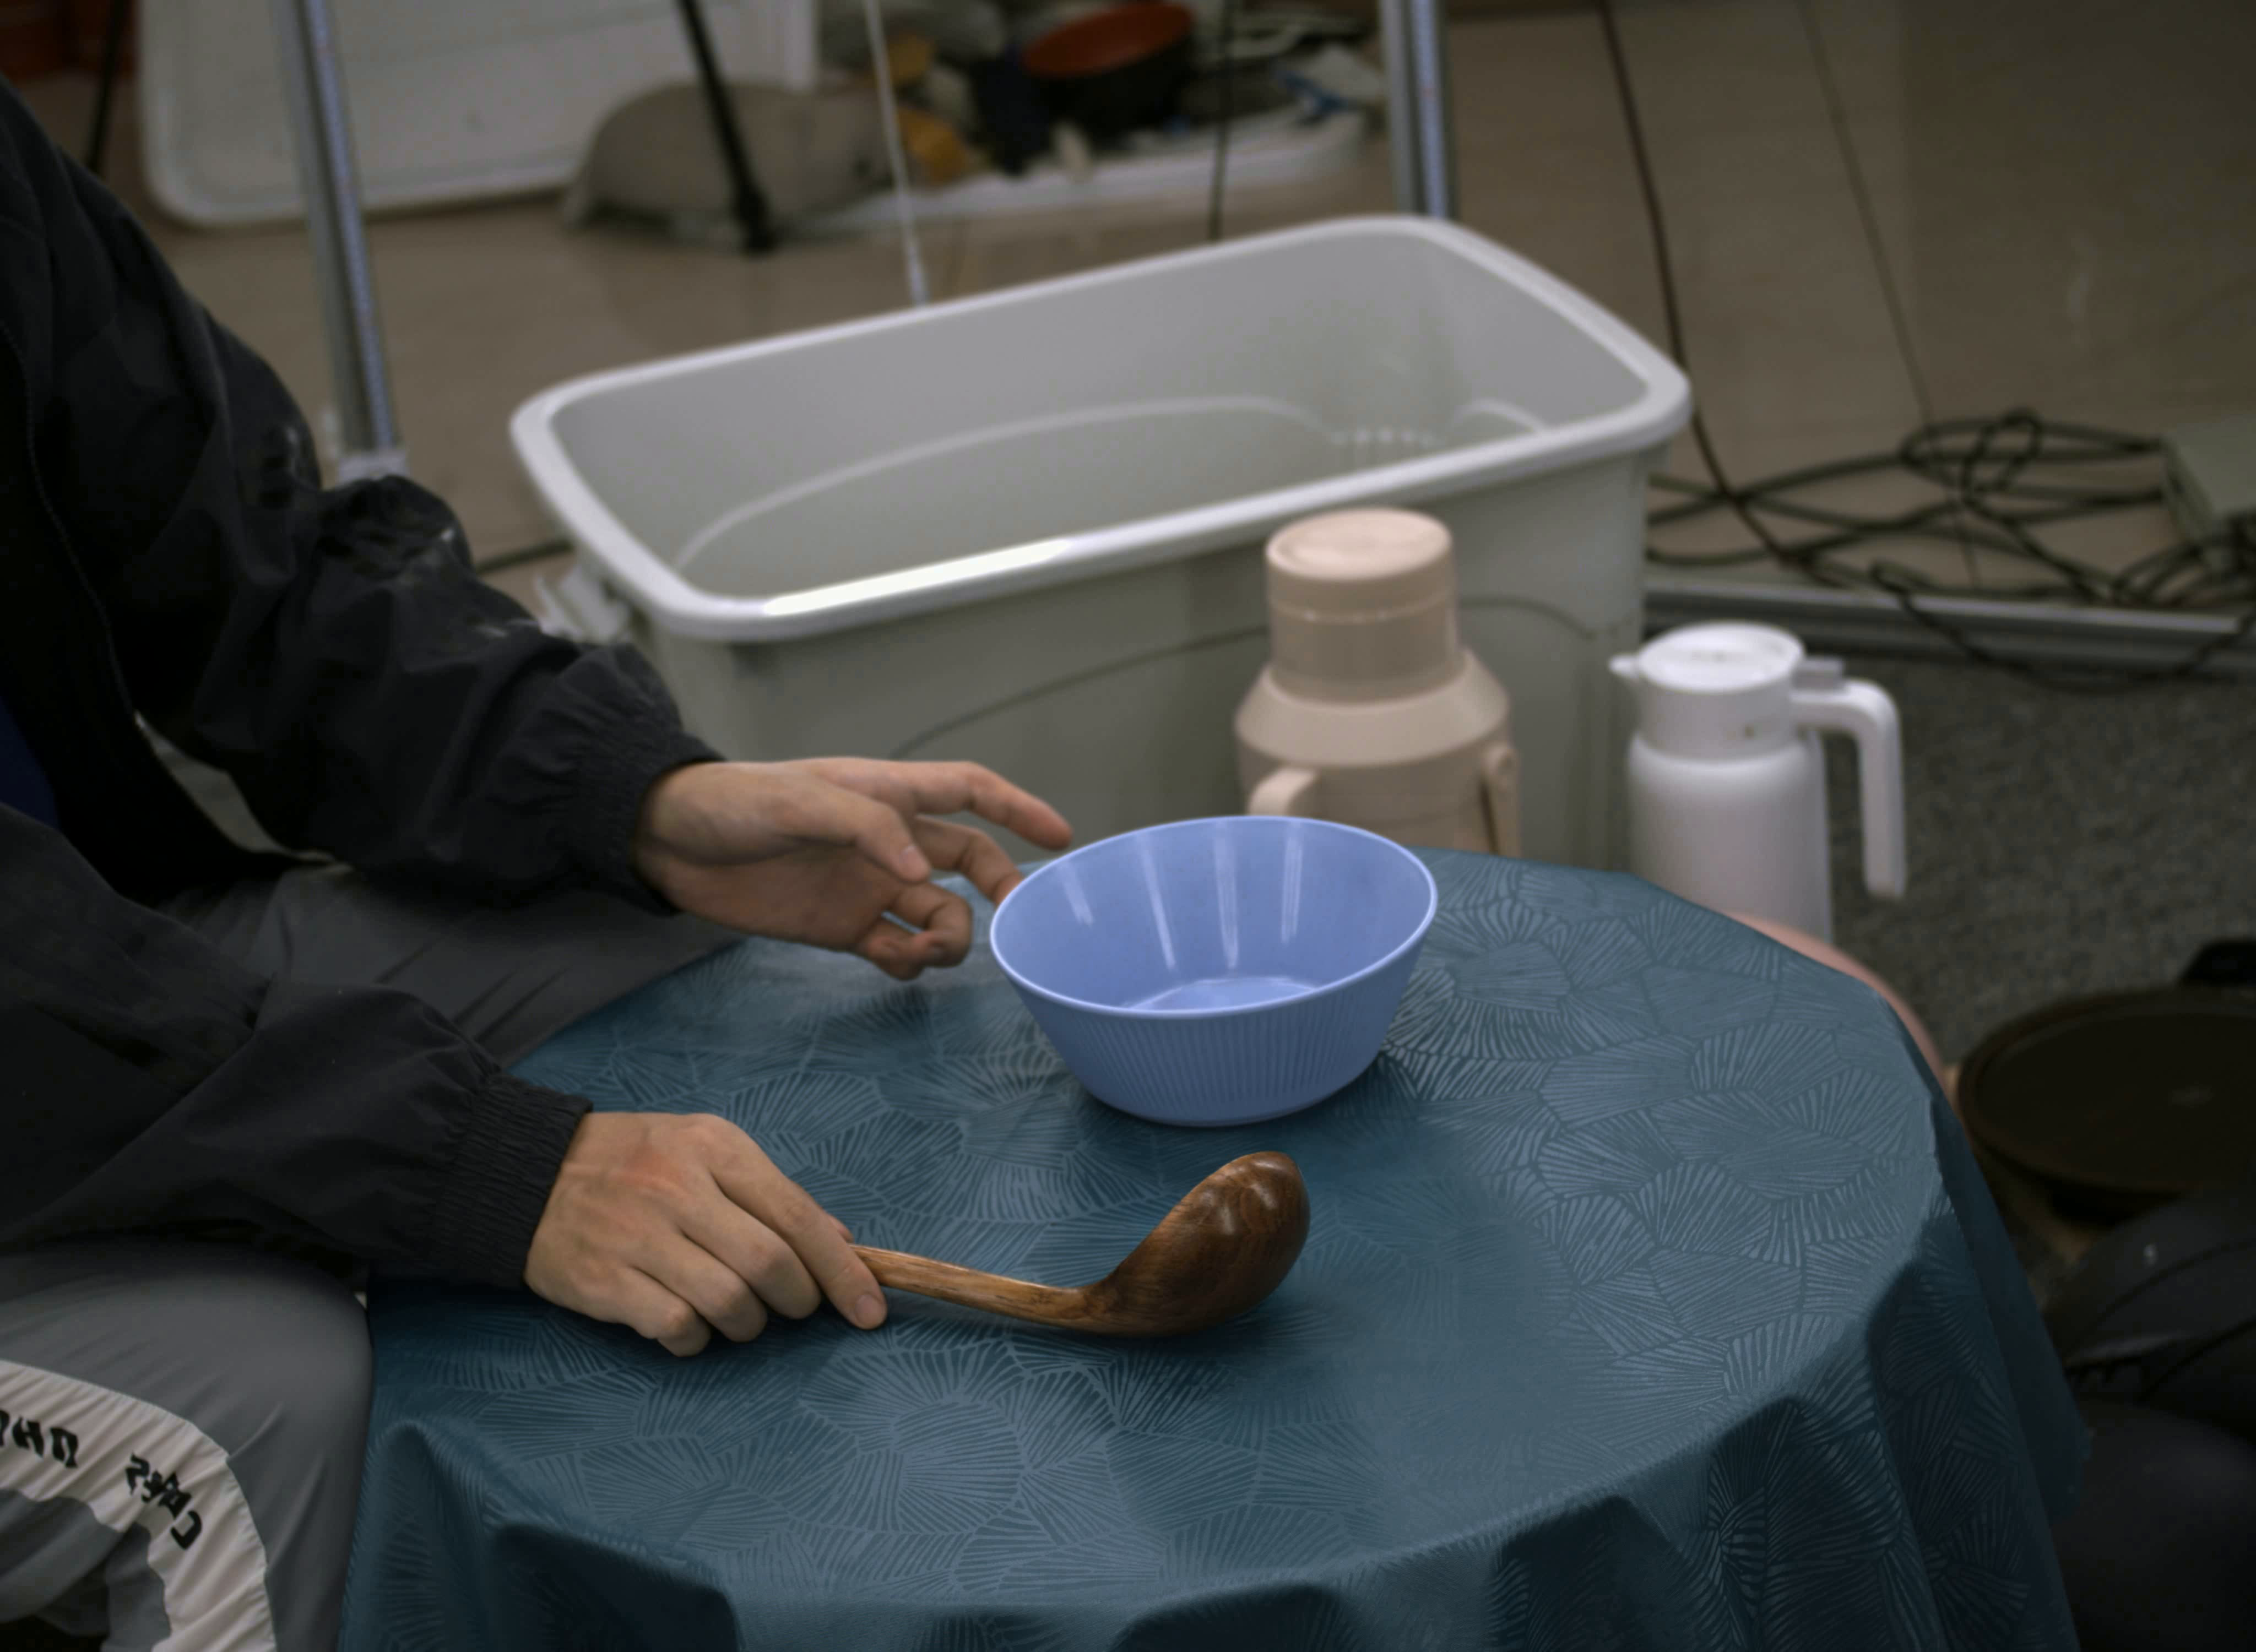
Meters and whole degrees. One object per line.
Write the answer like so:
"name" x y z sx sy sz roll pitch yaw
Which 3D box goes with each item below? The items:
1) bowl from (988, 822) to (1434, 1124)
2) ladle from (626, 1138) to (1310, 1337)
"bowl" 0.035 0.062 2.218 0.176 0.071 0.173 -5 24 3
"ladle" -0.062 0.139 2.077 0.273 0.076 0.083 5 -14 29
